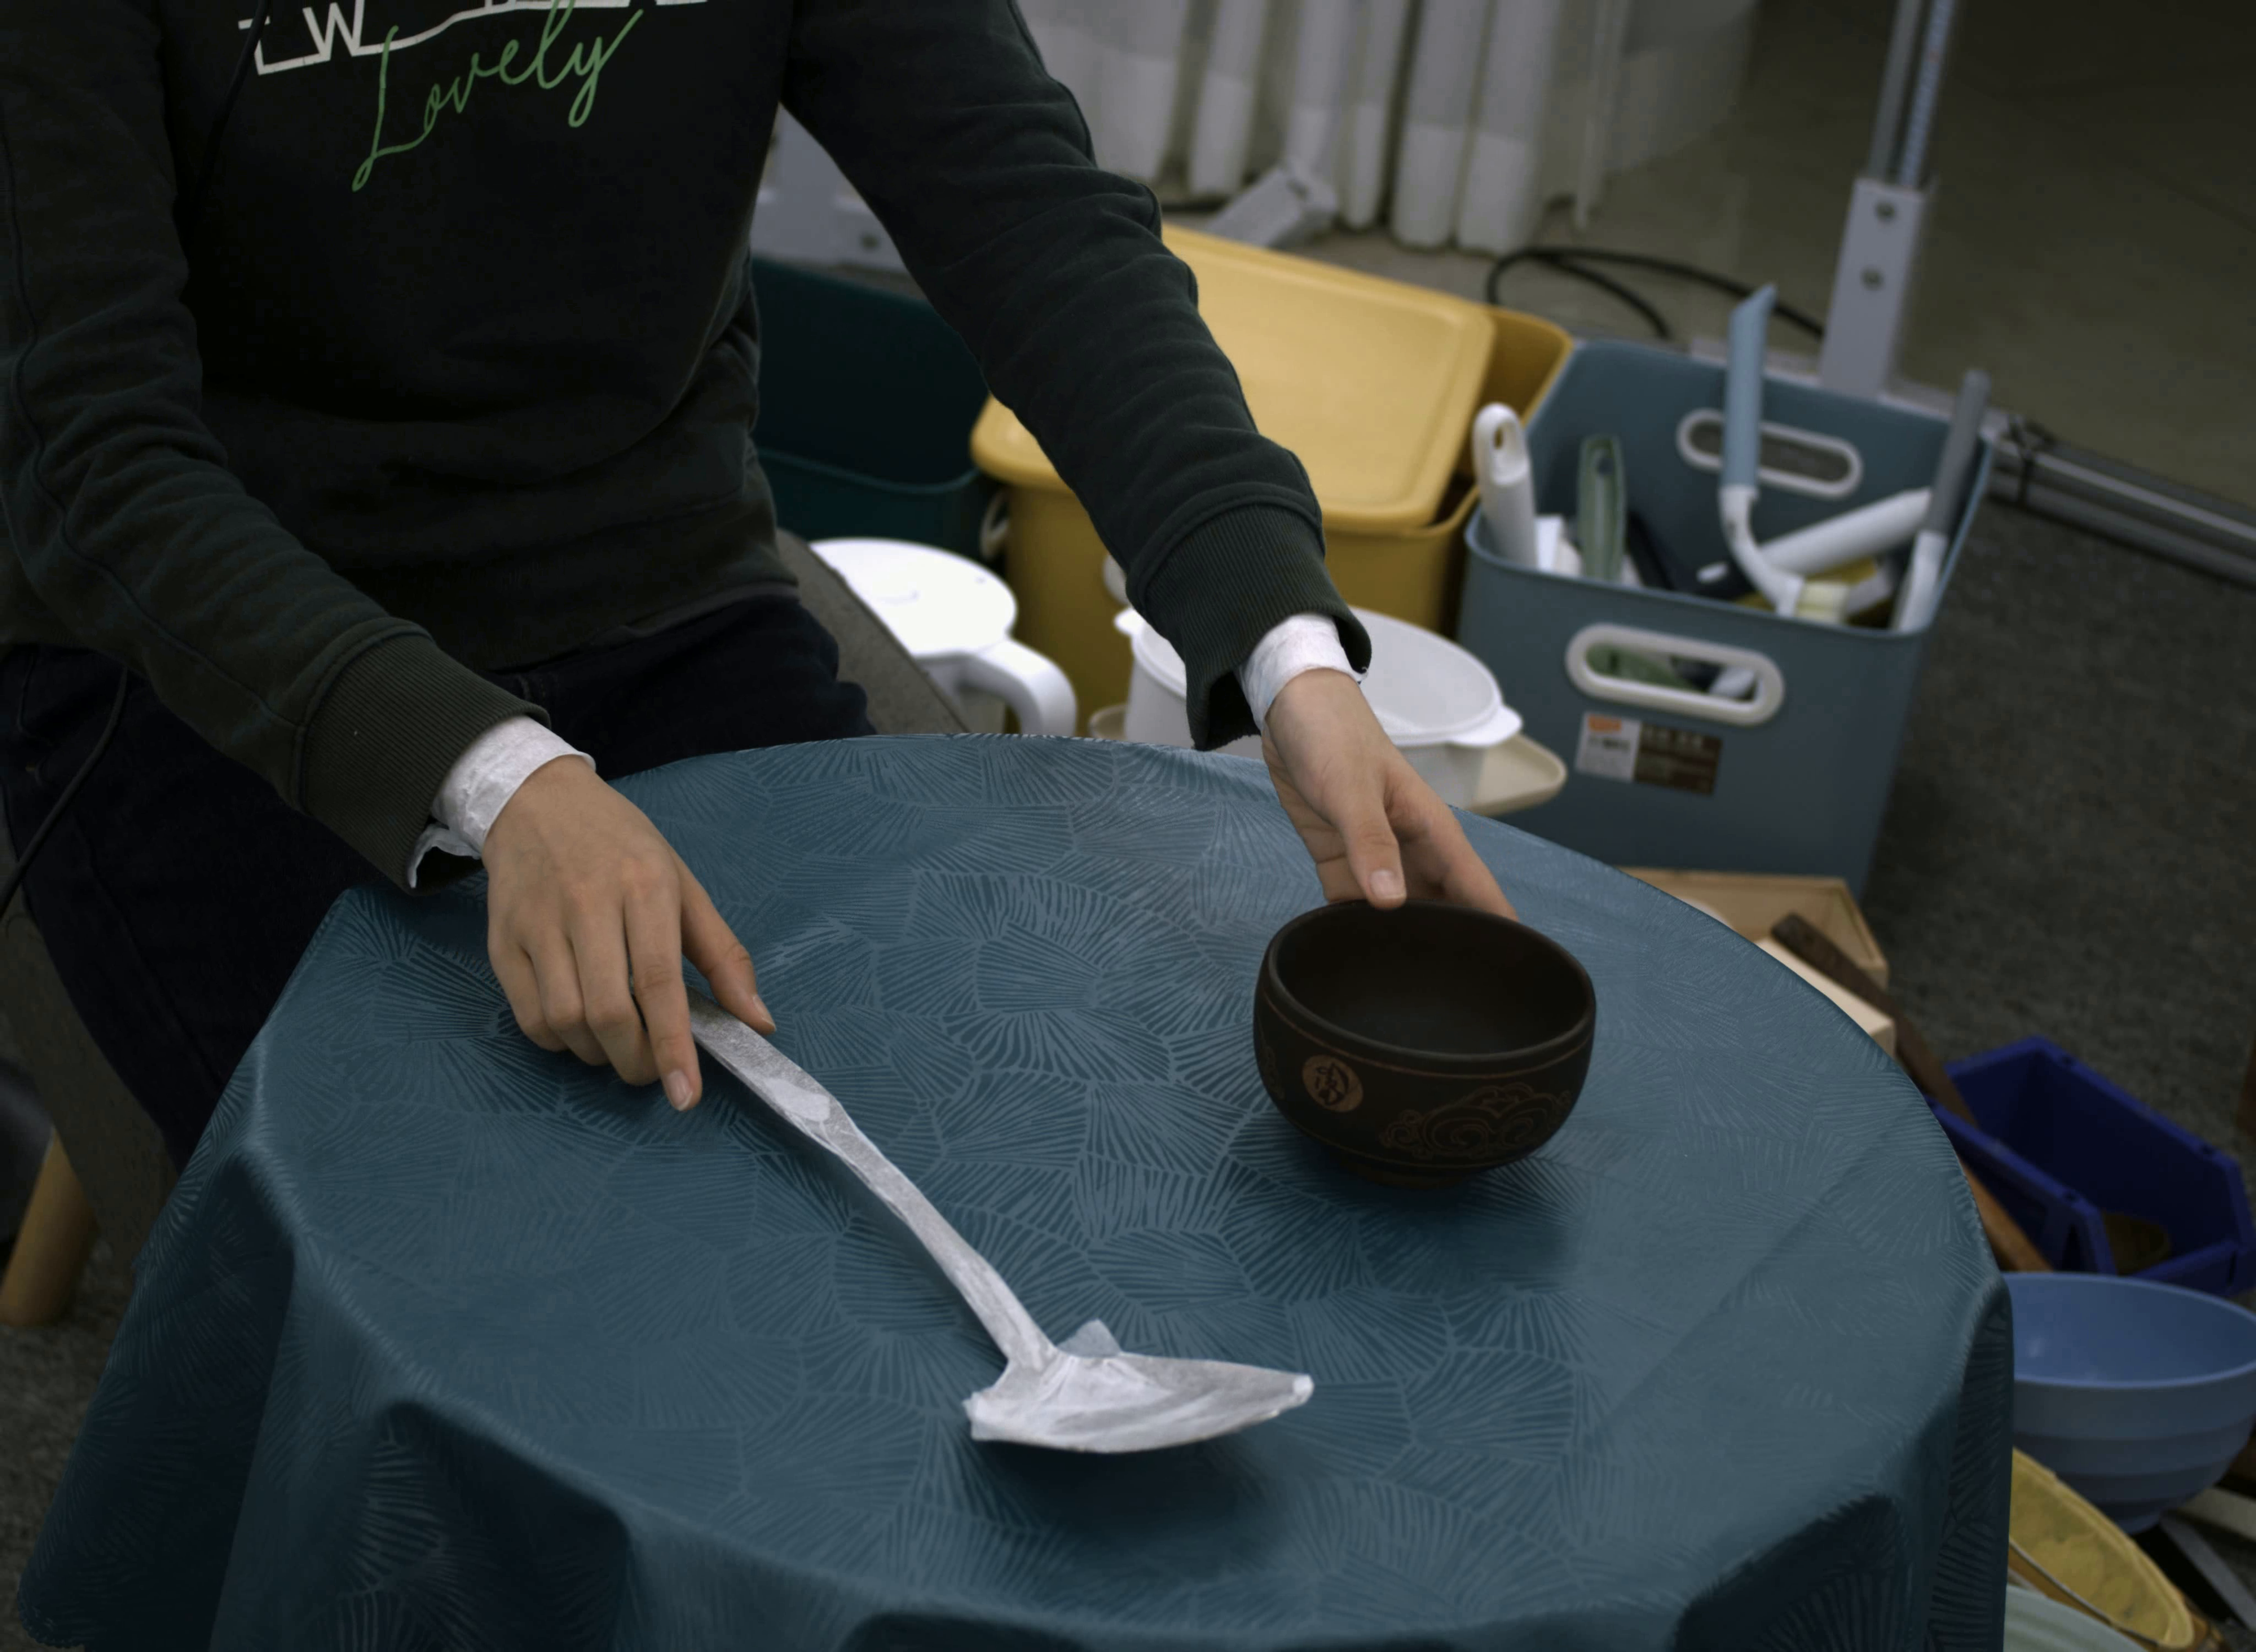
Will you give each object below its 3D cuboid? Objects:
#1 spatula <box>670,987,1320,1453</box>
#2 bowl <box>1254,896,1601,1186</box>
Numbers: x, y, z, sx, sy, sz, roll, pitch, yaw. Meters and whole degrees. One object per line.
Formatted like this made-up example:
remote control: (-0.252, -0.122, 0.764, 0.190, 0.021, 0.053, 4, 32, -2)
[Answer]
spatula: (-0.068, 0.121, 1.748, 0.098, 0.044, 0.368, -12, 32, -29)
bowl: (0.100, 0.080, 1.830, 0.117, 0.069, 0.119, 6, 25, -3)
